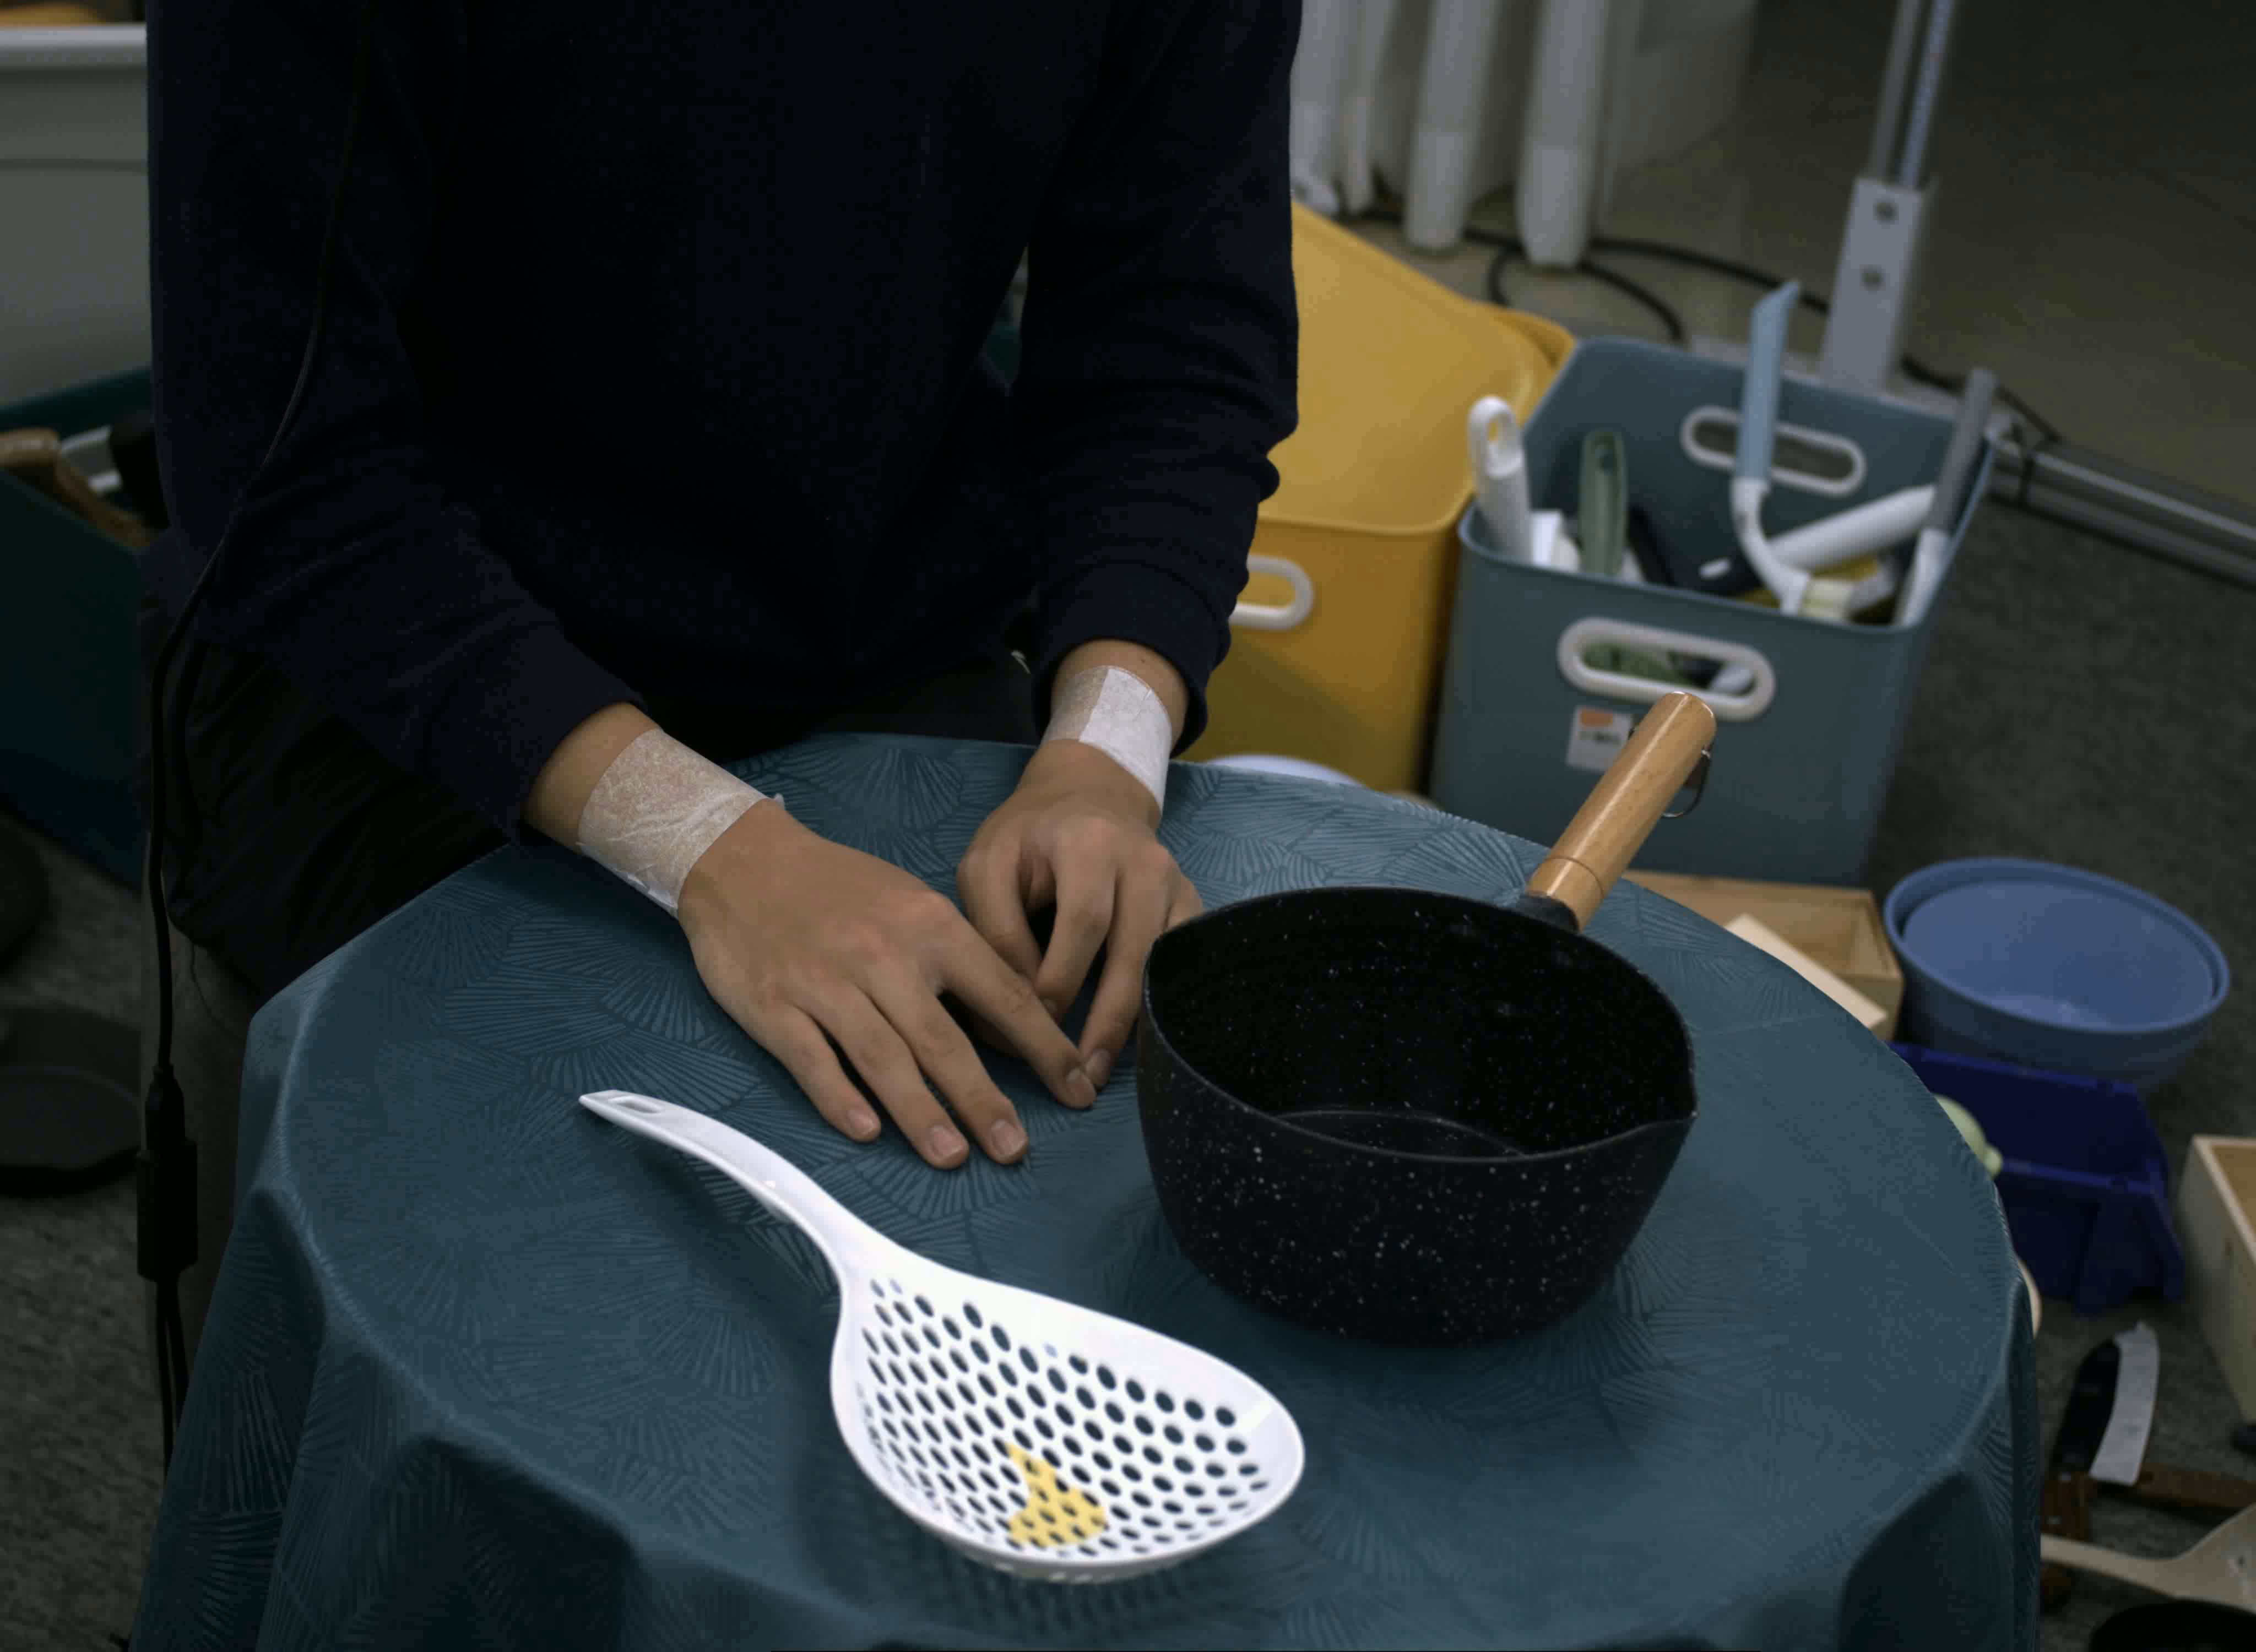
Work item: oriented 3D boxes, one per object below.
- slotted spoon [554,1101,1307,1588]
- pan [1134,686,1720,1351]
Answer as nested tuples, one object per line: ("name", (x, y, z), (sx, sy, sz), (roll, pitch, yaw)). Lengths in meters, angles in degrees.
("slotted spoon", (-0.081, 0.151, 1.684), (0.136, 0.050, 0.351), (-15, 35, -33))
("pan", (0.126, 0.060, 1.837), (0.208, 0.108, 0.343), (16, 30, 20))
